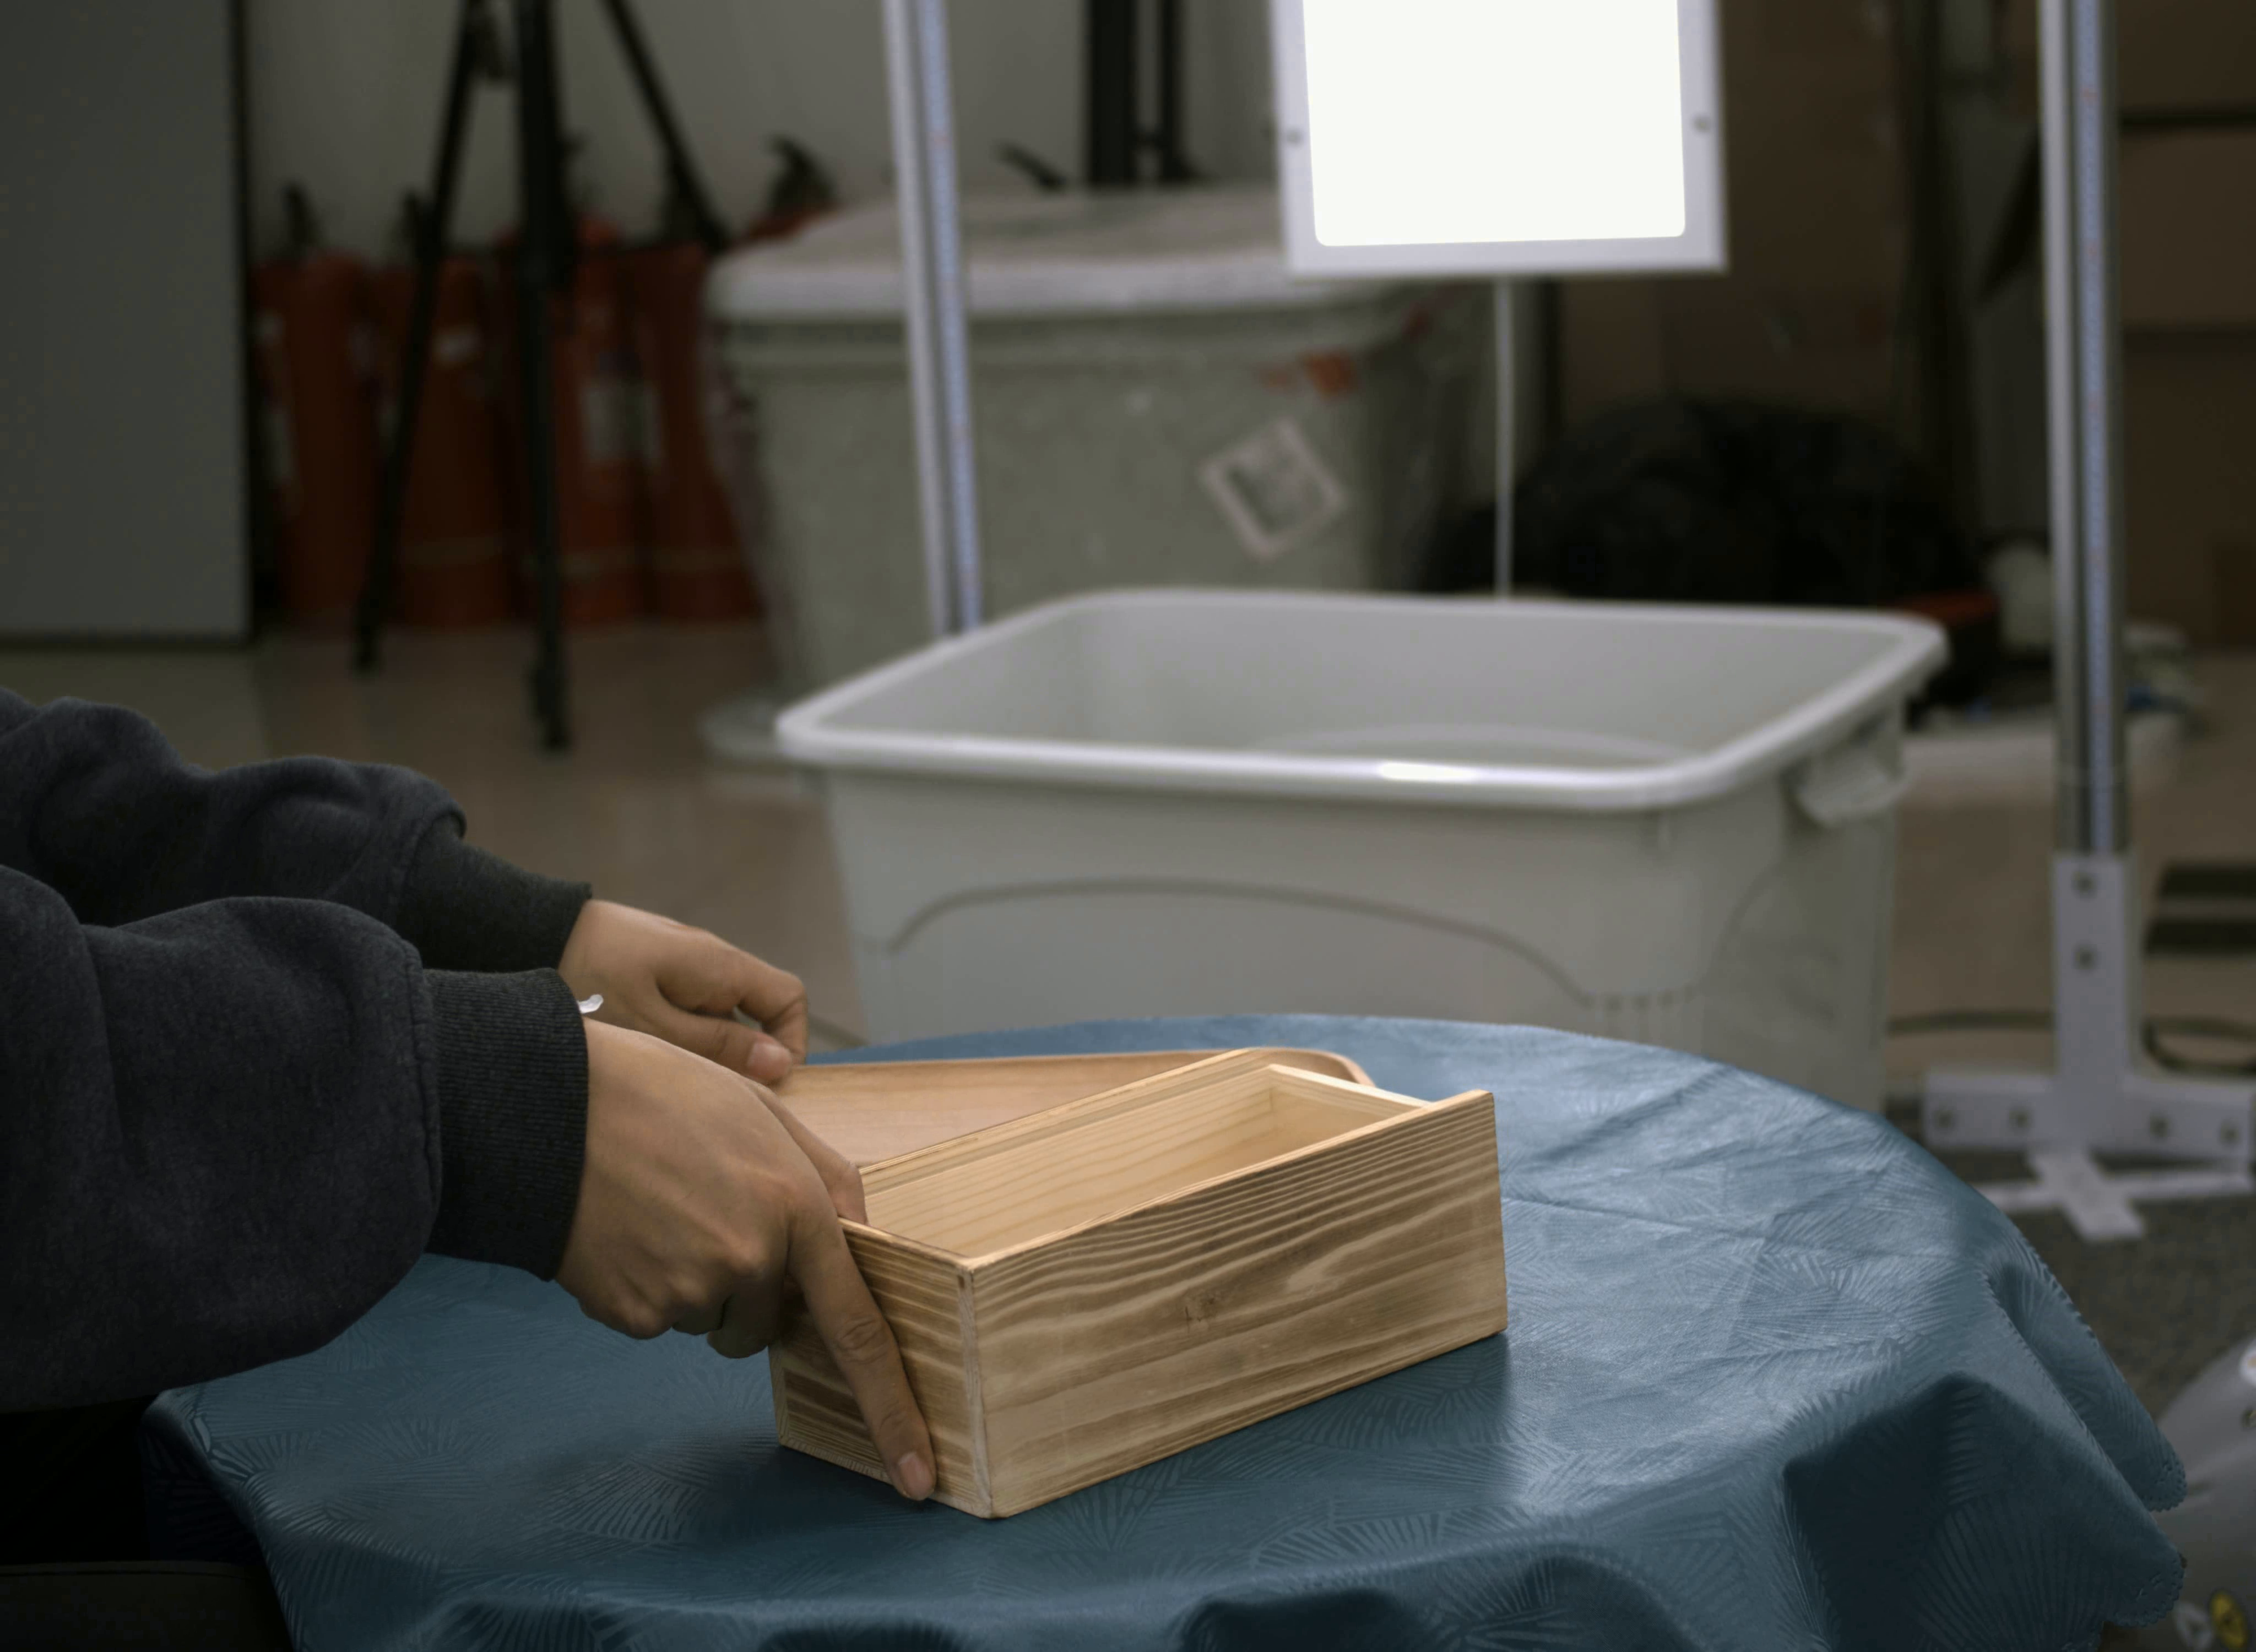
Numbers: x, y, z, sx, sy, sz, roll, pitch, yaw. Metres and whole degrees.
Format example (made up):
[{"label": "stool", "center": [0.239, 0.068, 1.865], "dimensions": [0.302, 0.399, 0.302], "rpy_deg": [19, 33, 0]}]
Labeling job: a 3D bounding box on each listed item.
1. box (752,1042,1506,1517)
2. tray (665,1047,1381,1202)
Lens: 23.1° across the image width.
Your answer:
[{"label": "box", "center": [0.003, 0.135, 1.692], "dimensions": [0.206, 0.080, 0.110], "rpy_deg": [-16, 17, -36]}, {"label": "tray", "center": [-0.034, 0.104, 1.924], "dimensions": [0.248, 0.023, 0.131], "rpy_deg": [-2, 11, -7]}]
